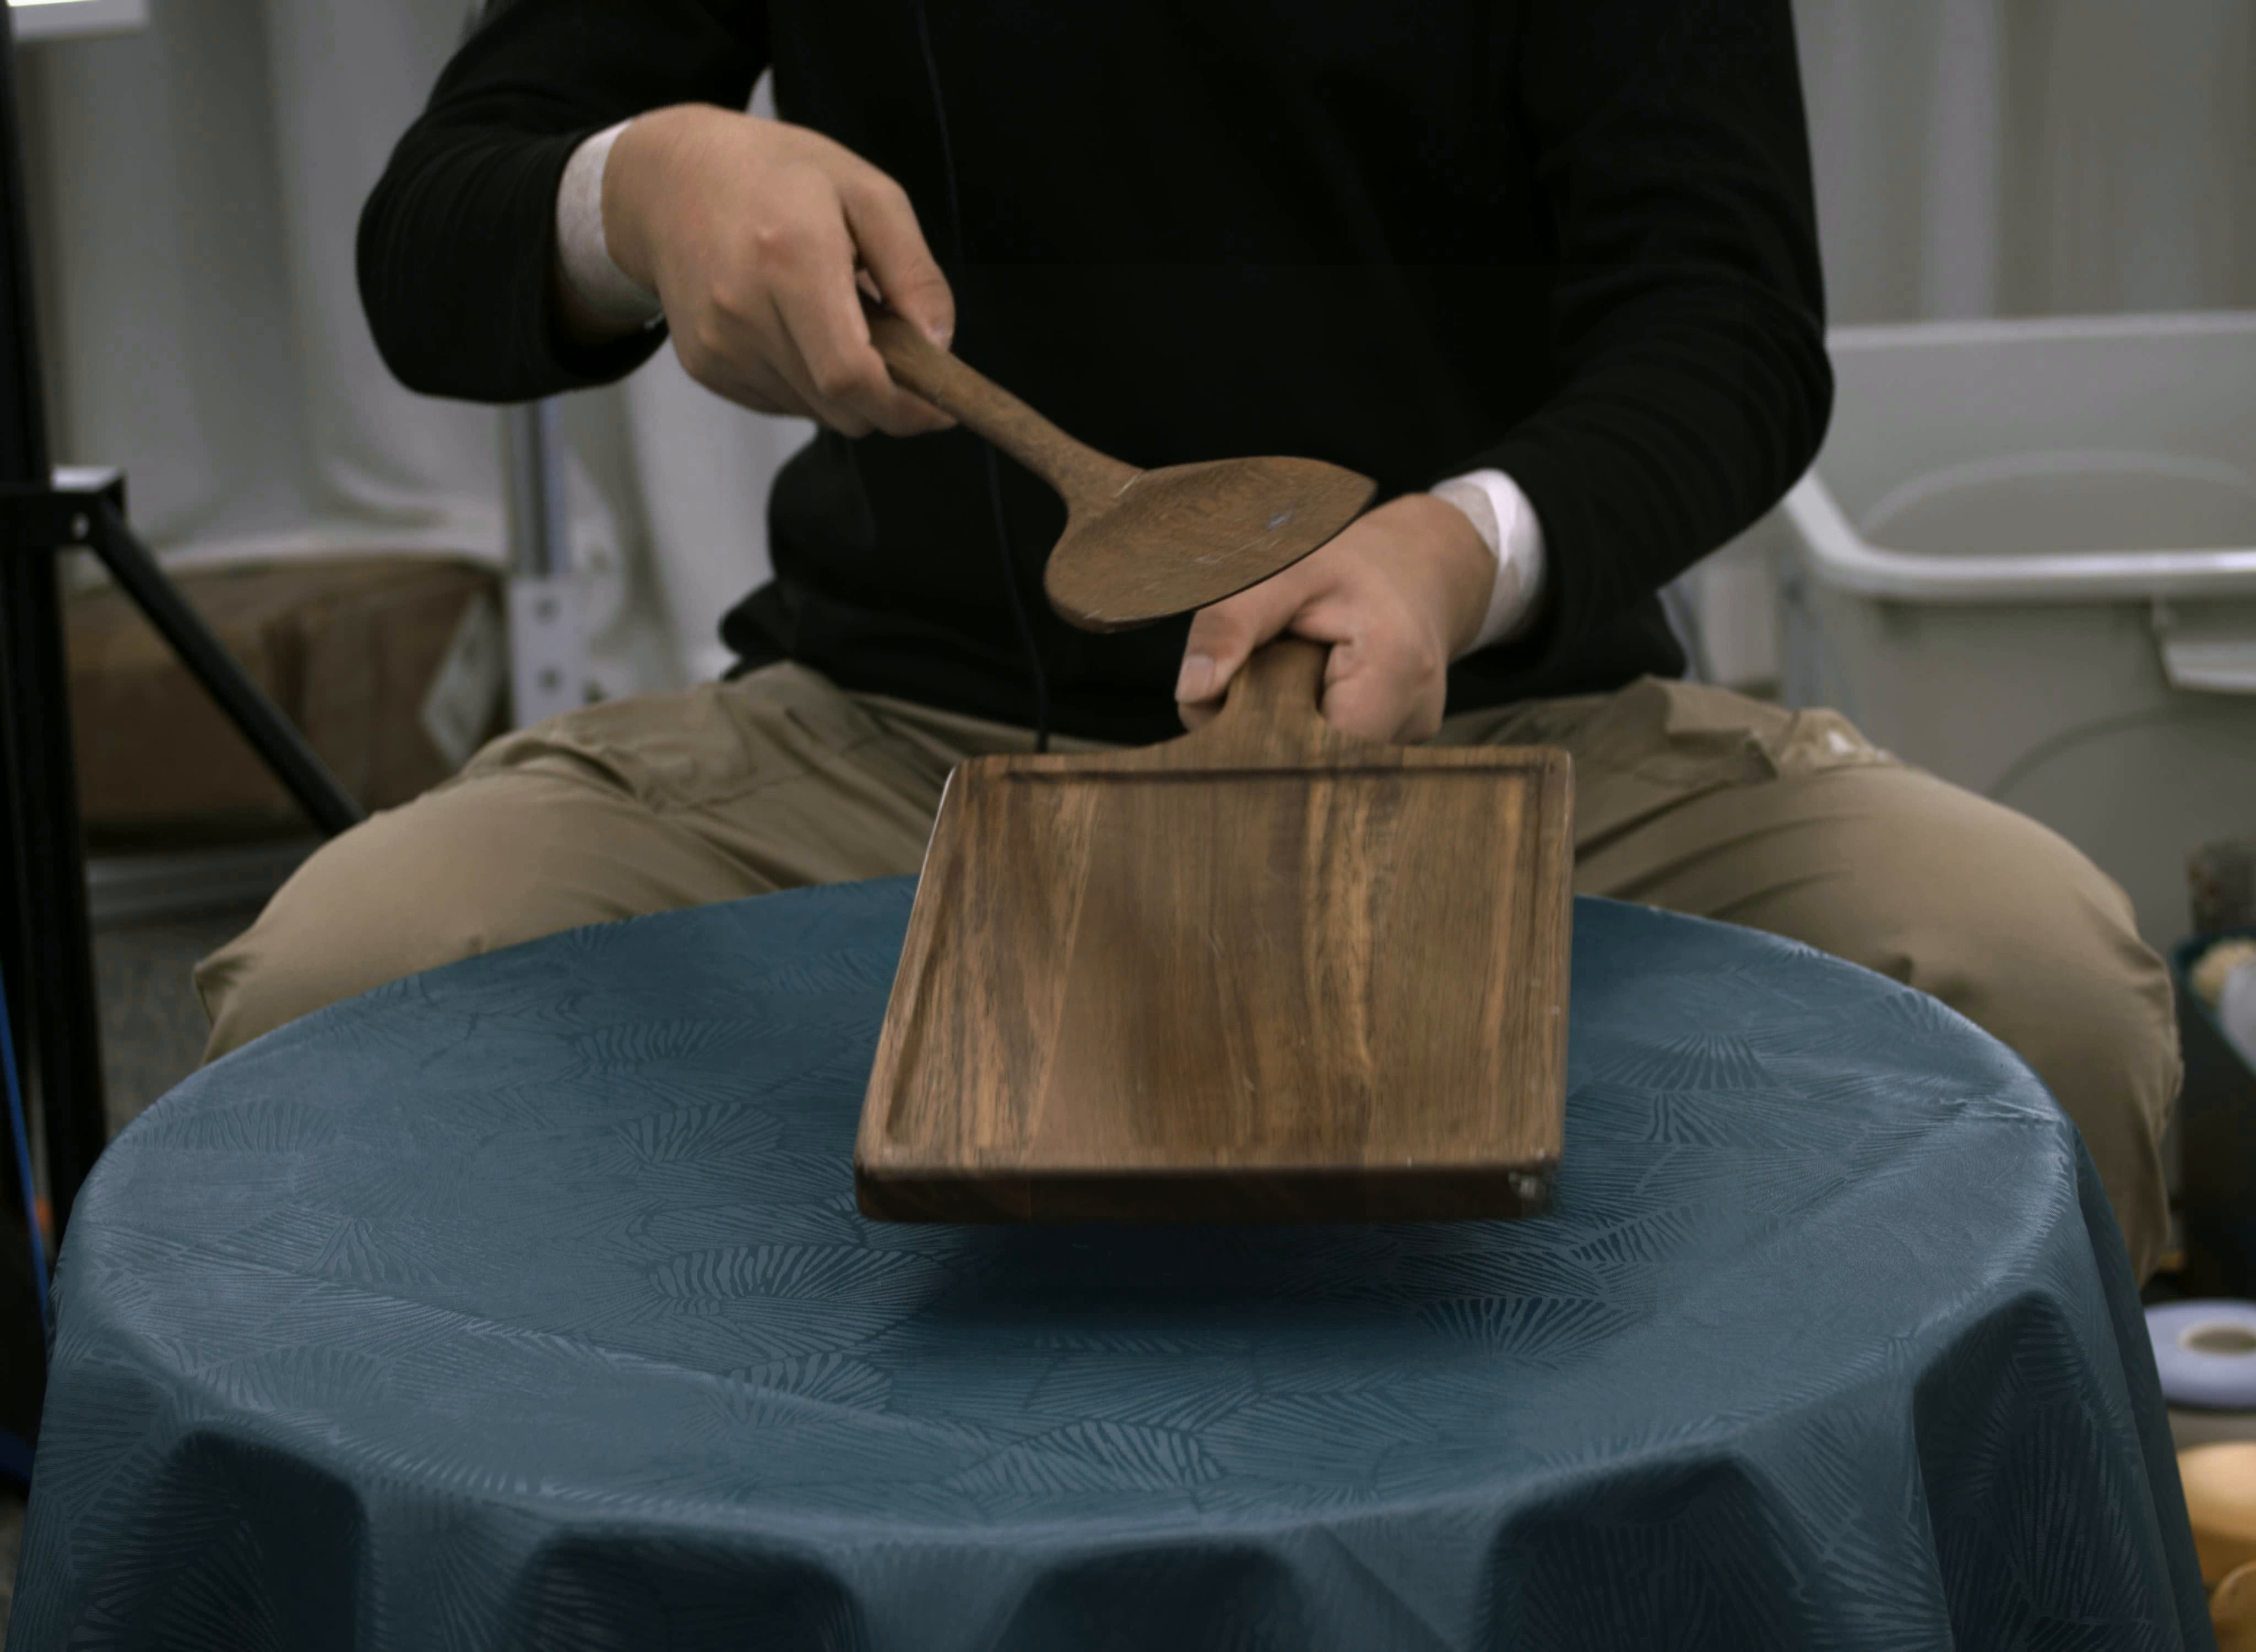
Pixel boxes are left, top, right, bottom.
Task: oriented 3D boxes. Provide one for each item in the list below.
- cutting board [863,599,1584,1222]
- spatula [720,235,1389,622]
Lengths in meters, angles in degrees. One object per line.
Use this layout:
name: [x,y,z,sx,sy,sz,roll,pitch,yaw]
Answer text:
cutting board: [0.037,0.017,1.588,0.201,0.023,0.353,-2,28,7]
spatula: [-0.044,-0.133,1.666,0.095,0.015,0.394,-29,30,-16]
